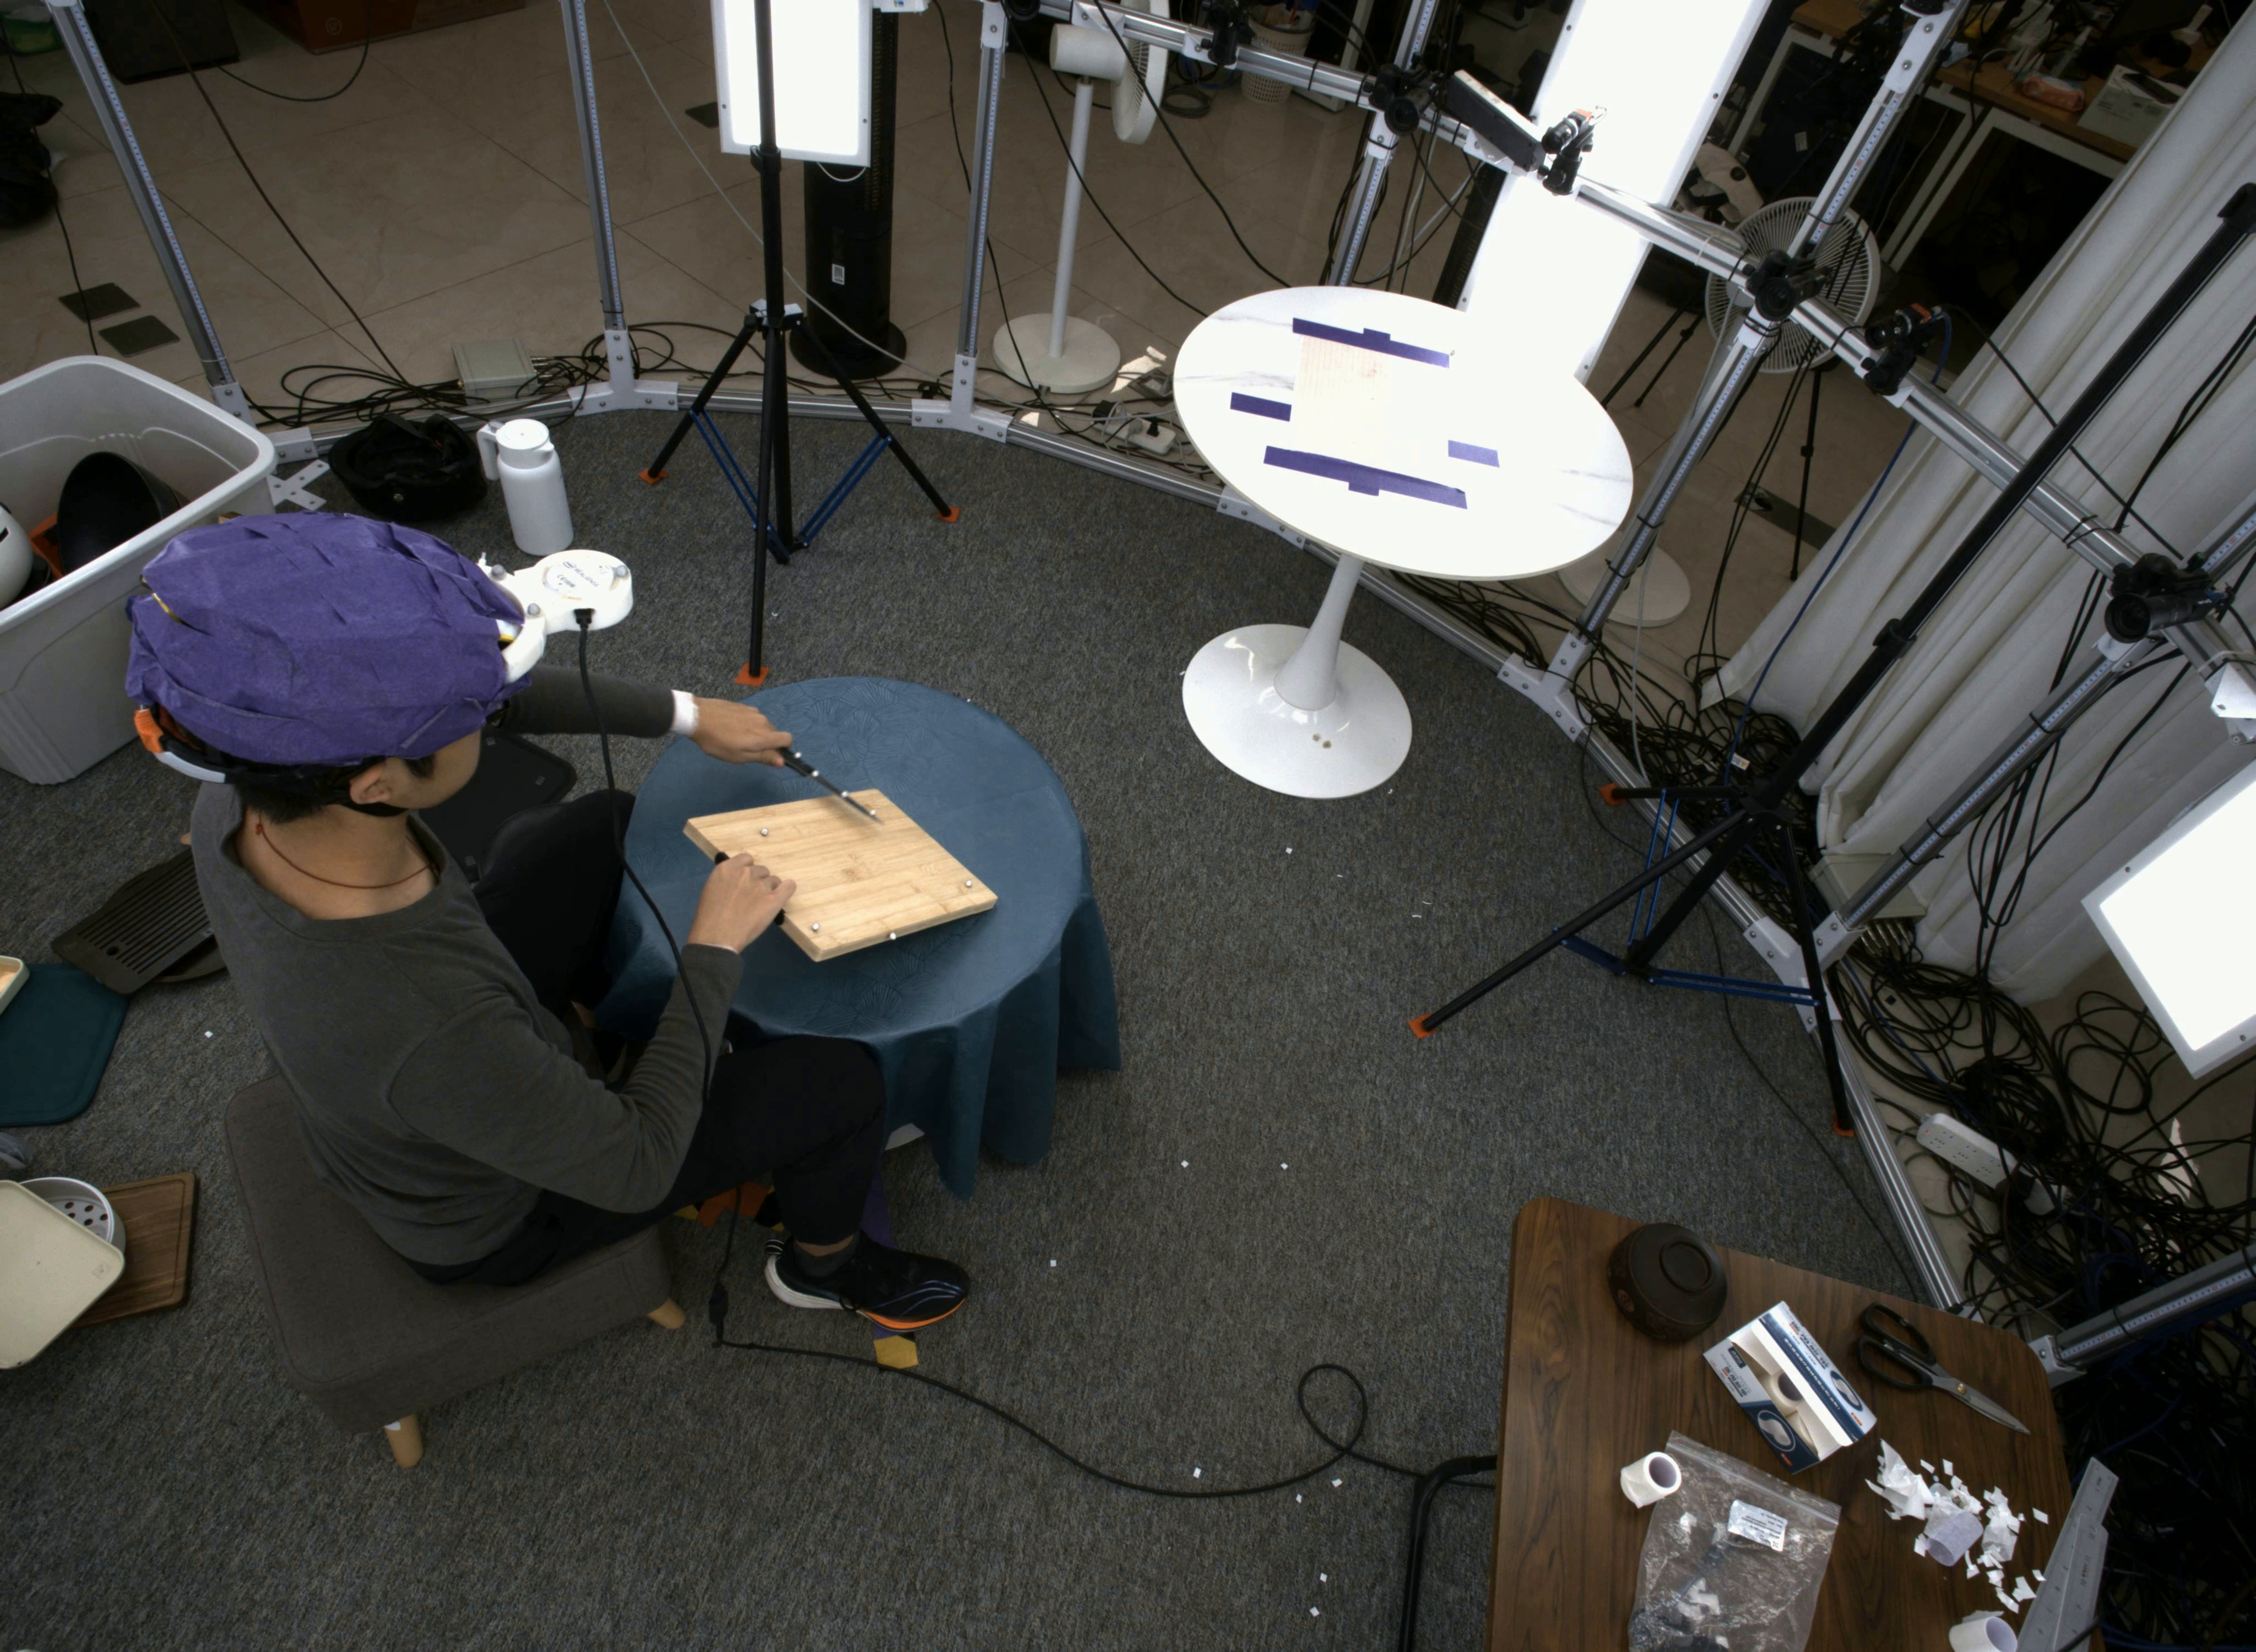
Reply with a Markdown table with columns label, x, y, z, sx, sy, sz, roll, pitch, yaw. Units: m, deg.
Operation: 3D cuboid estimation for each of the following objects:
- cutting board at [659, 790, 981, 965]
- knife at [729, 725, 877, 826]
| label | x | y | z | sx | sy | sz | roll | pitch | yaw |
| --- | --- | --- | --- | --- | --- | --- | --- | --- | --- |
| cutting board | -0.363 | 0.051 | 1.589 | 0.245 | 0.024 | 0.352 | 39 | 23 | 16 |
| knife | -0.424 | -0.064 | 1.683 | 0.236 | 0.016 | 0.024 | 33 | 19 | 4 |
